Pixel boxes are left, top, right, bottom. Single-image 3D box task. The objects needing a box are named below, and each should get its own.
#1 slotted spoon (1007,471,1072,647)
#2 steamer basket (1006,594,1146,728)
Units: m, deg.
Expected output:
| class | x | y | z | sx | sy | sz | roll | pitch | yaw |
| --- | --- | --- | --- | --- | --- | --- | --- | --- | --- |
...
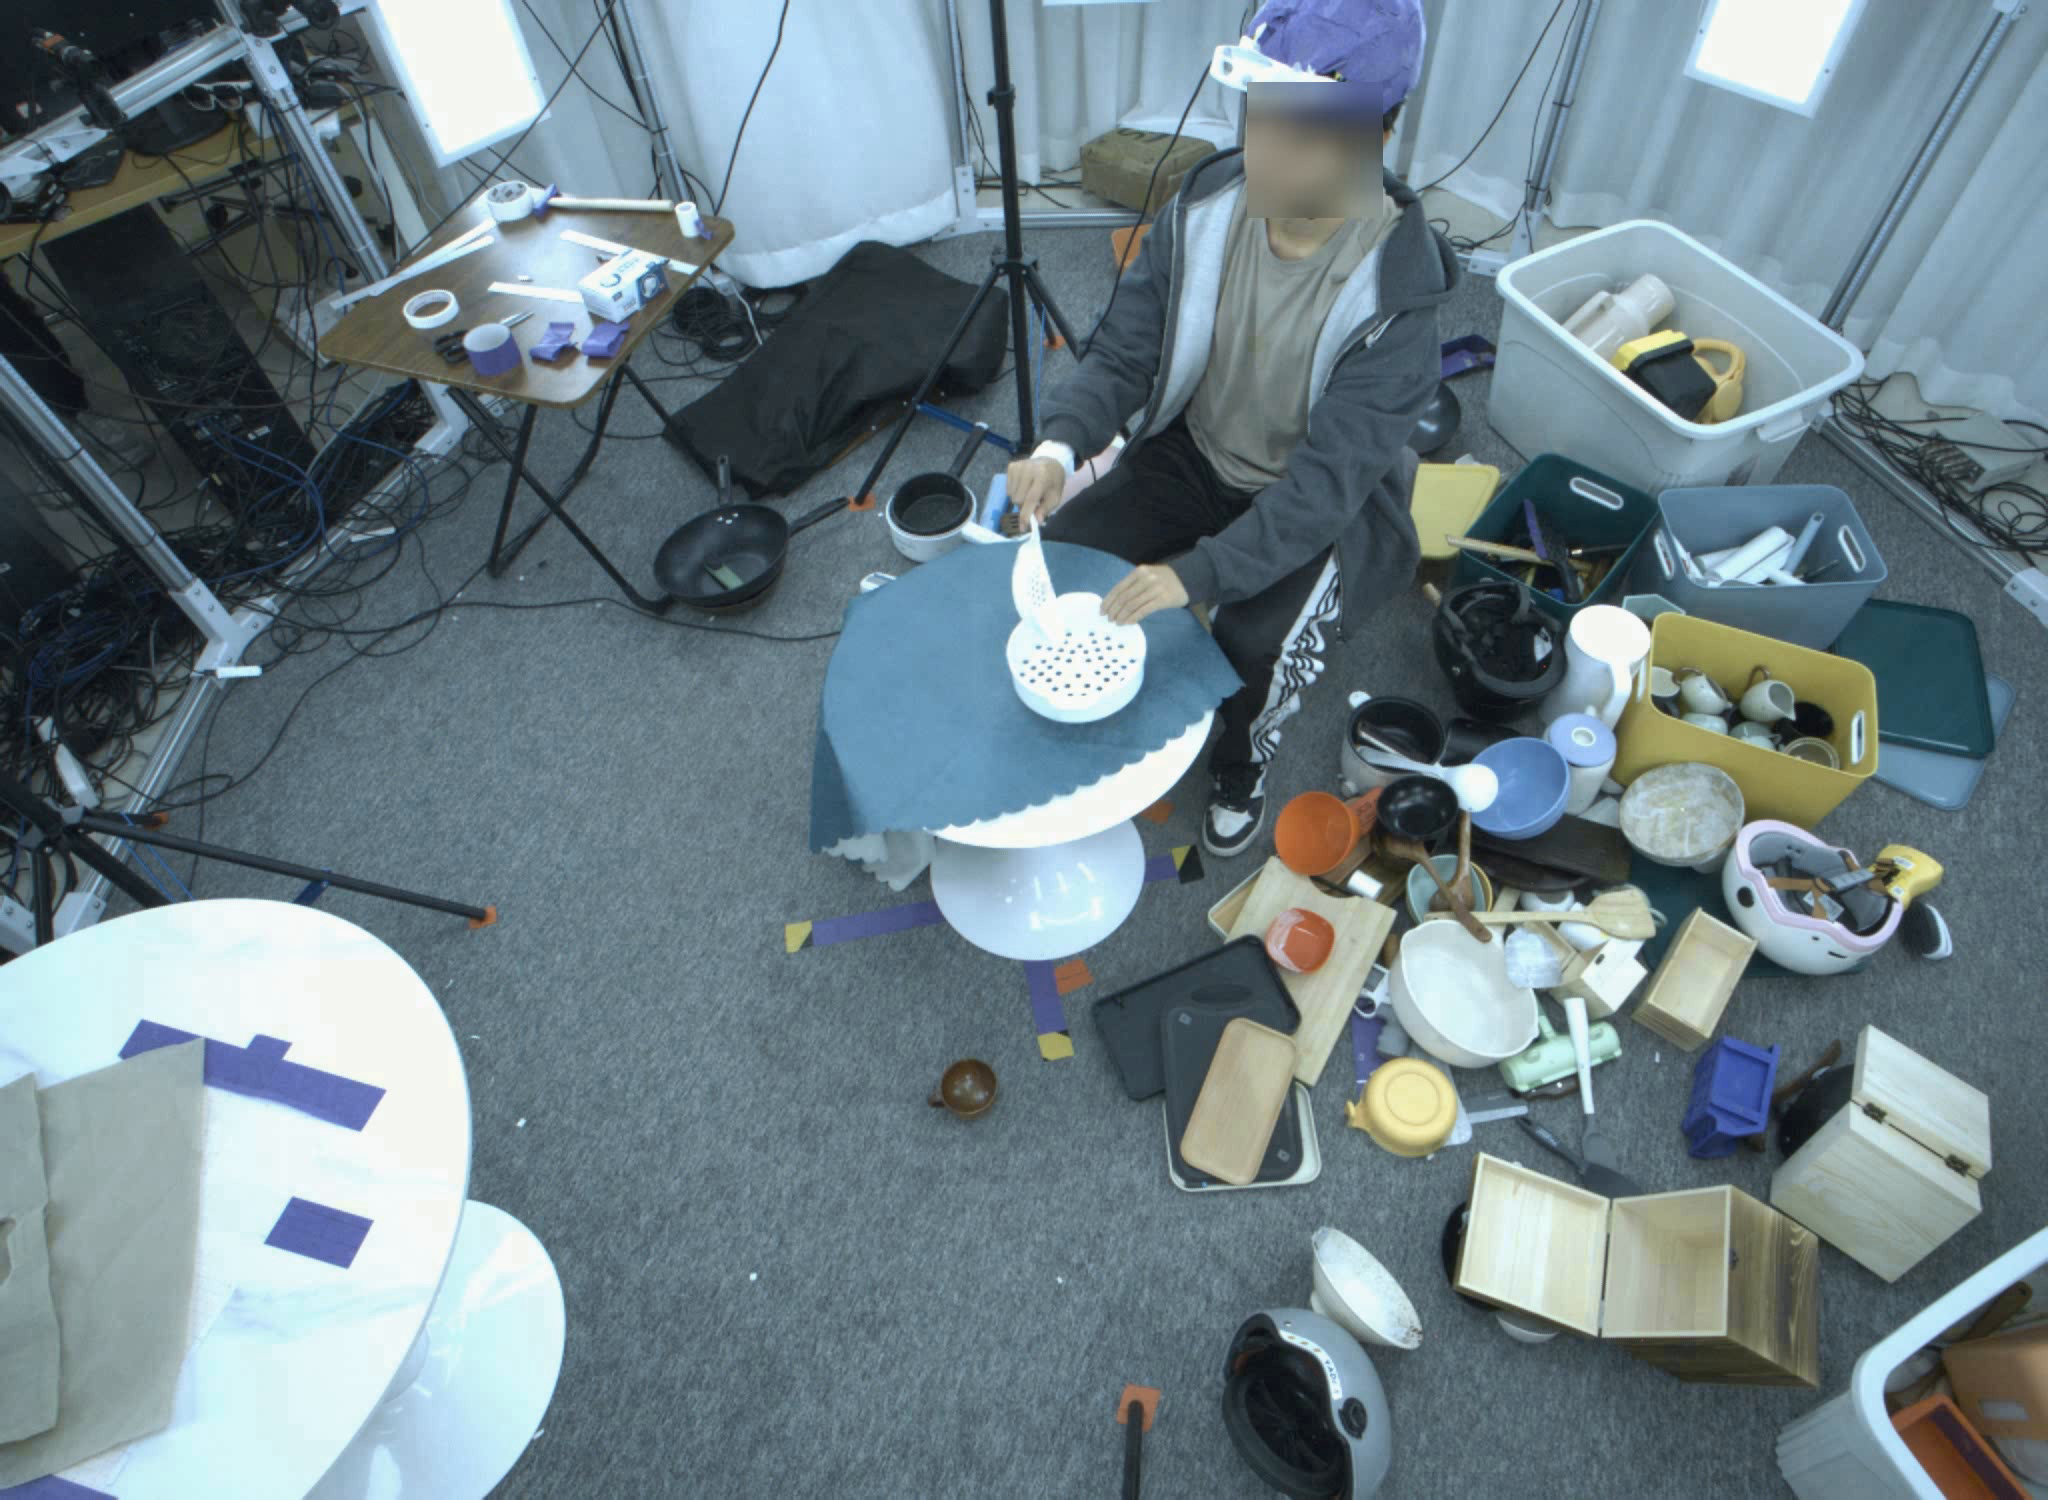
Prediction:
| class | x | y | z | sx | sy | sz | roll | pitch | yaw |
| --- | --- | --- | --- | --- | --- | --- | --- | --- | --- |
| slotted spoon | 0.008 | -0.288 | 1.765 | 0.050 | 0.140 | 0.344 | -20 | 52 | 23 |
| steamer basket | 0.077 | -0.125 | 1.796 | 0.201 | 0.070 | 0.228 | 0 | 55 | 4 |
